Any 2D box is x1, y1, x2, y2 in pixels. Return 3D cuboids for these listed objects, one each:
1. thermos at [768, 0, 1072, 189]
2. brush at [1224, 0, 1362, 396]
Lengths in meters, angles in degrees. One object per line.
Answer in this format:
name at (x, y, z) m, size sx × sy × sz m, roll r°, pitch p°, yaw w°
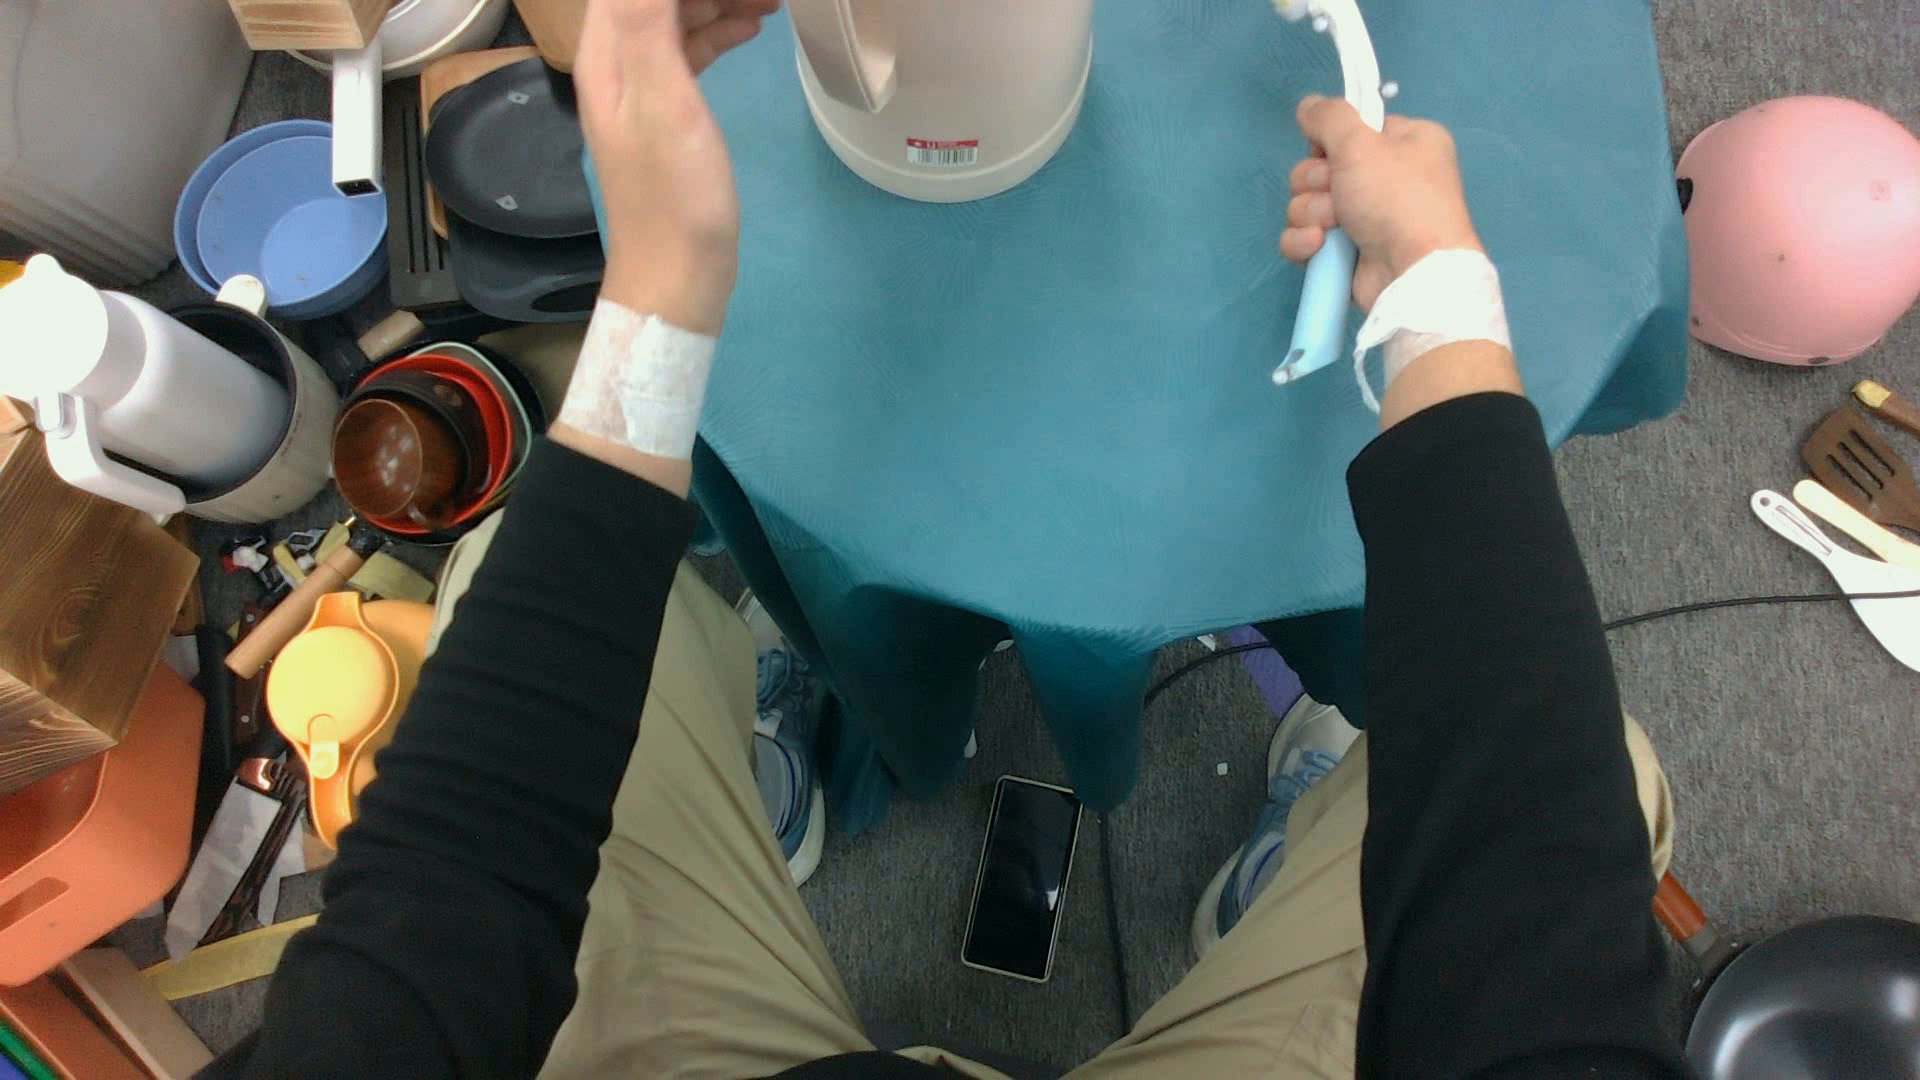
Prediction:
thermos at (-0.025, -0.293, 0.575) m, size 0.175 × 0.405 × 0.207 m, roll 21°, pitch 80°, yaw 3°
brush at (0.161, -0.231, 0.683) m, size 0.084 × 0.083 × 0.326 m, roll 9°, pitch 76°, yaw 16°
